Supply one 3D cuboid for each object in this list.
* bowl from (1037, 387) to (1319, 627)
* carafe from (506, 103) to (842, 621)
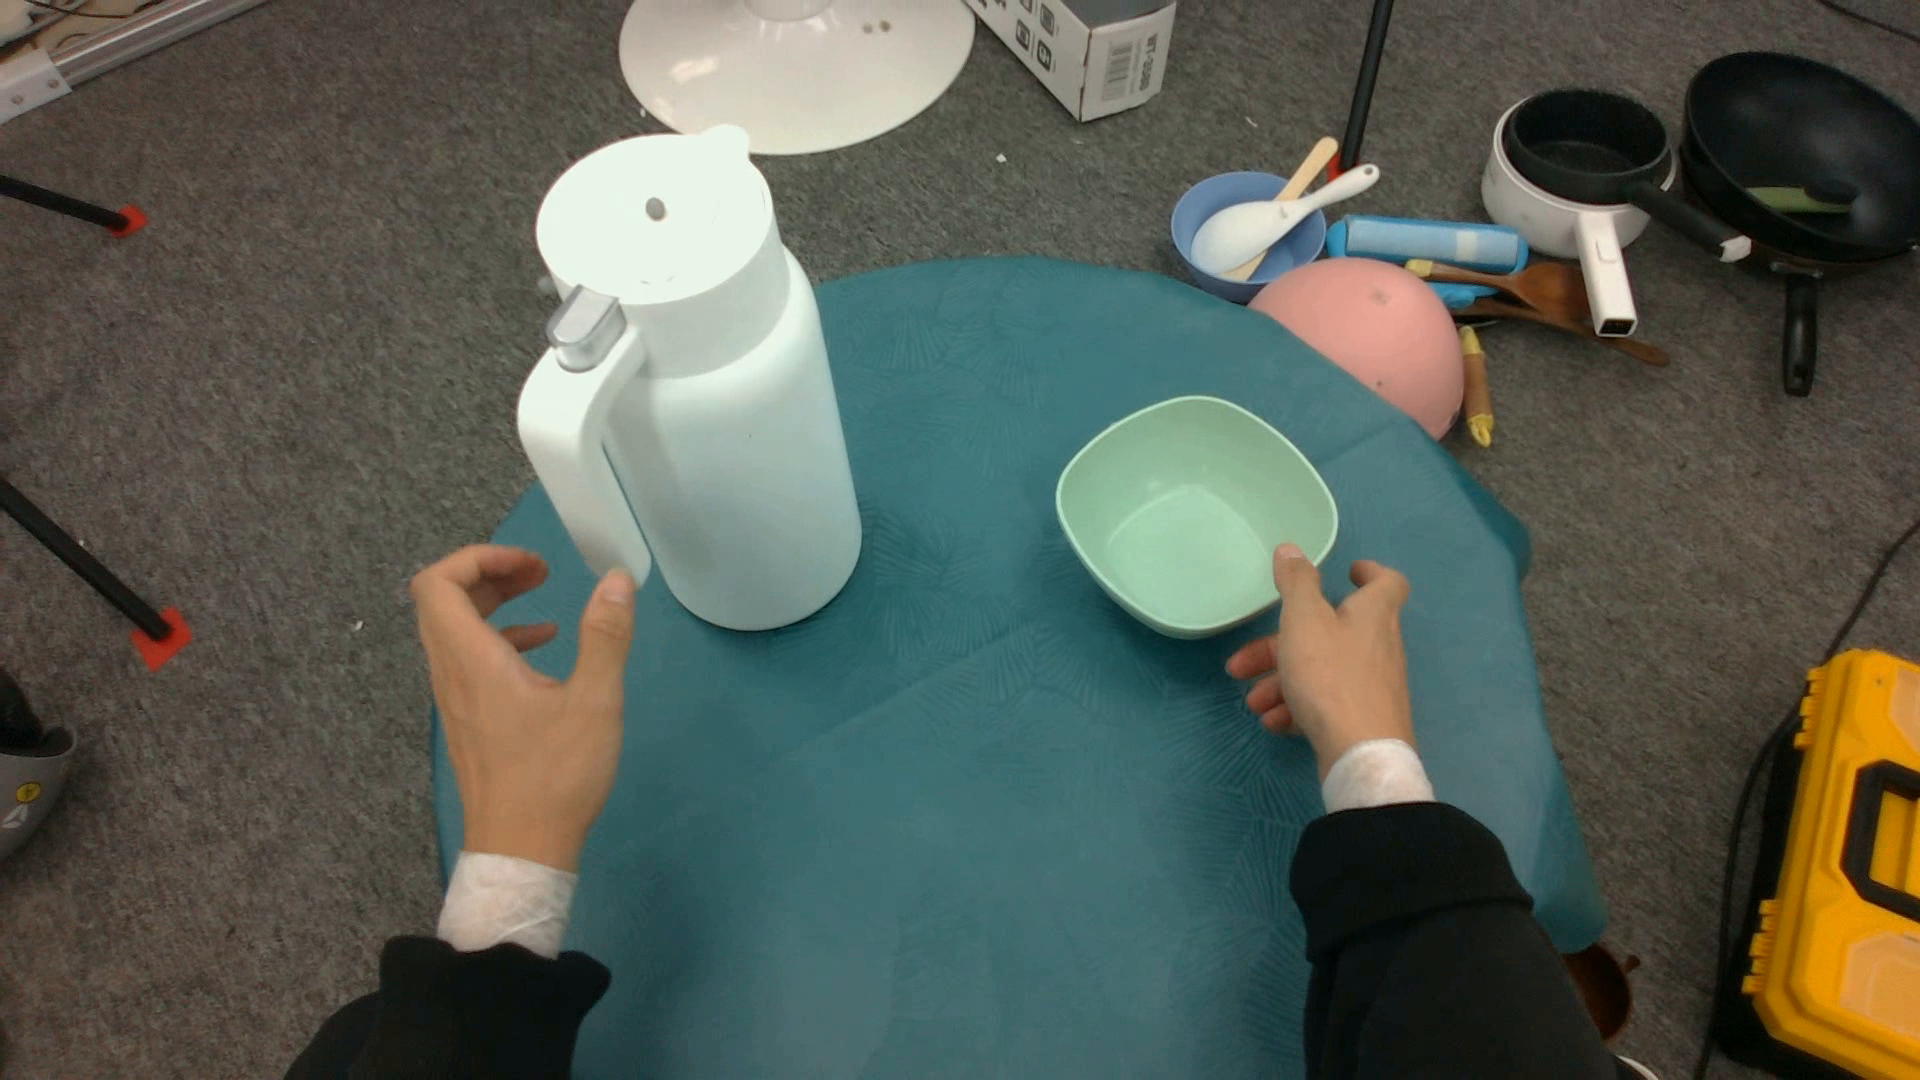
[{"bbox_3d":[0.118,-0.009,0.766,0.151,0.058,0.152,-1,57,2],"label":"bowl"},{"bbox_3d":[-0.135,-0.057,0.679,0.124,0.267,0.173,18,60,11],"label":"carafe"}]
